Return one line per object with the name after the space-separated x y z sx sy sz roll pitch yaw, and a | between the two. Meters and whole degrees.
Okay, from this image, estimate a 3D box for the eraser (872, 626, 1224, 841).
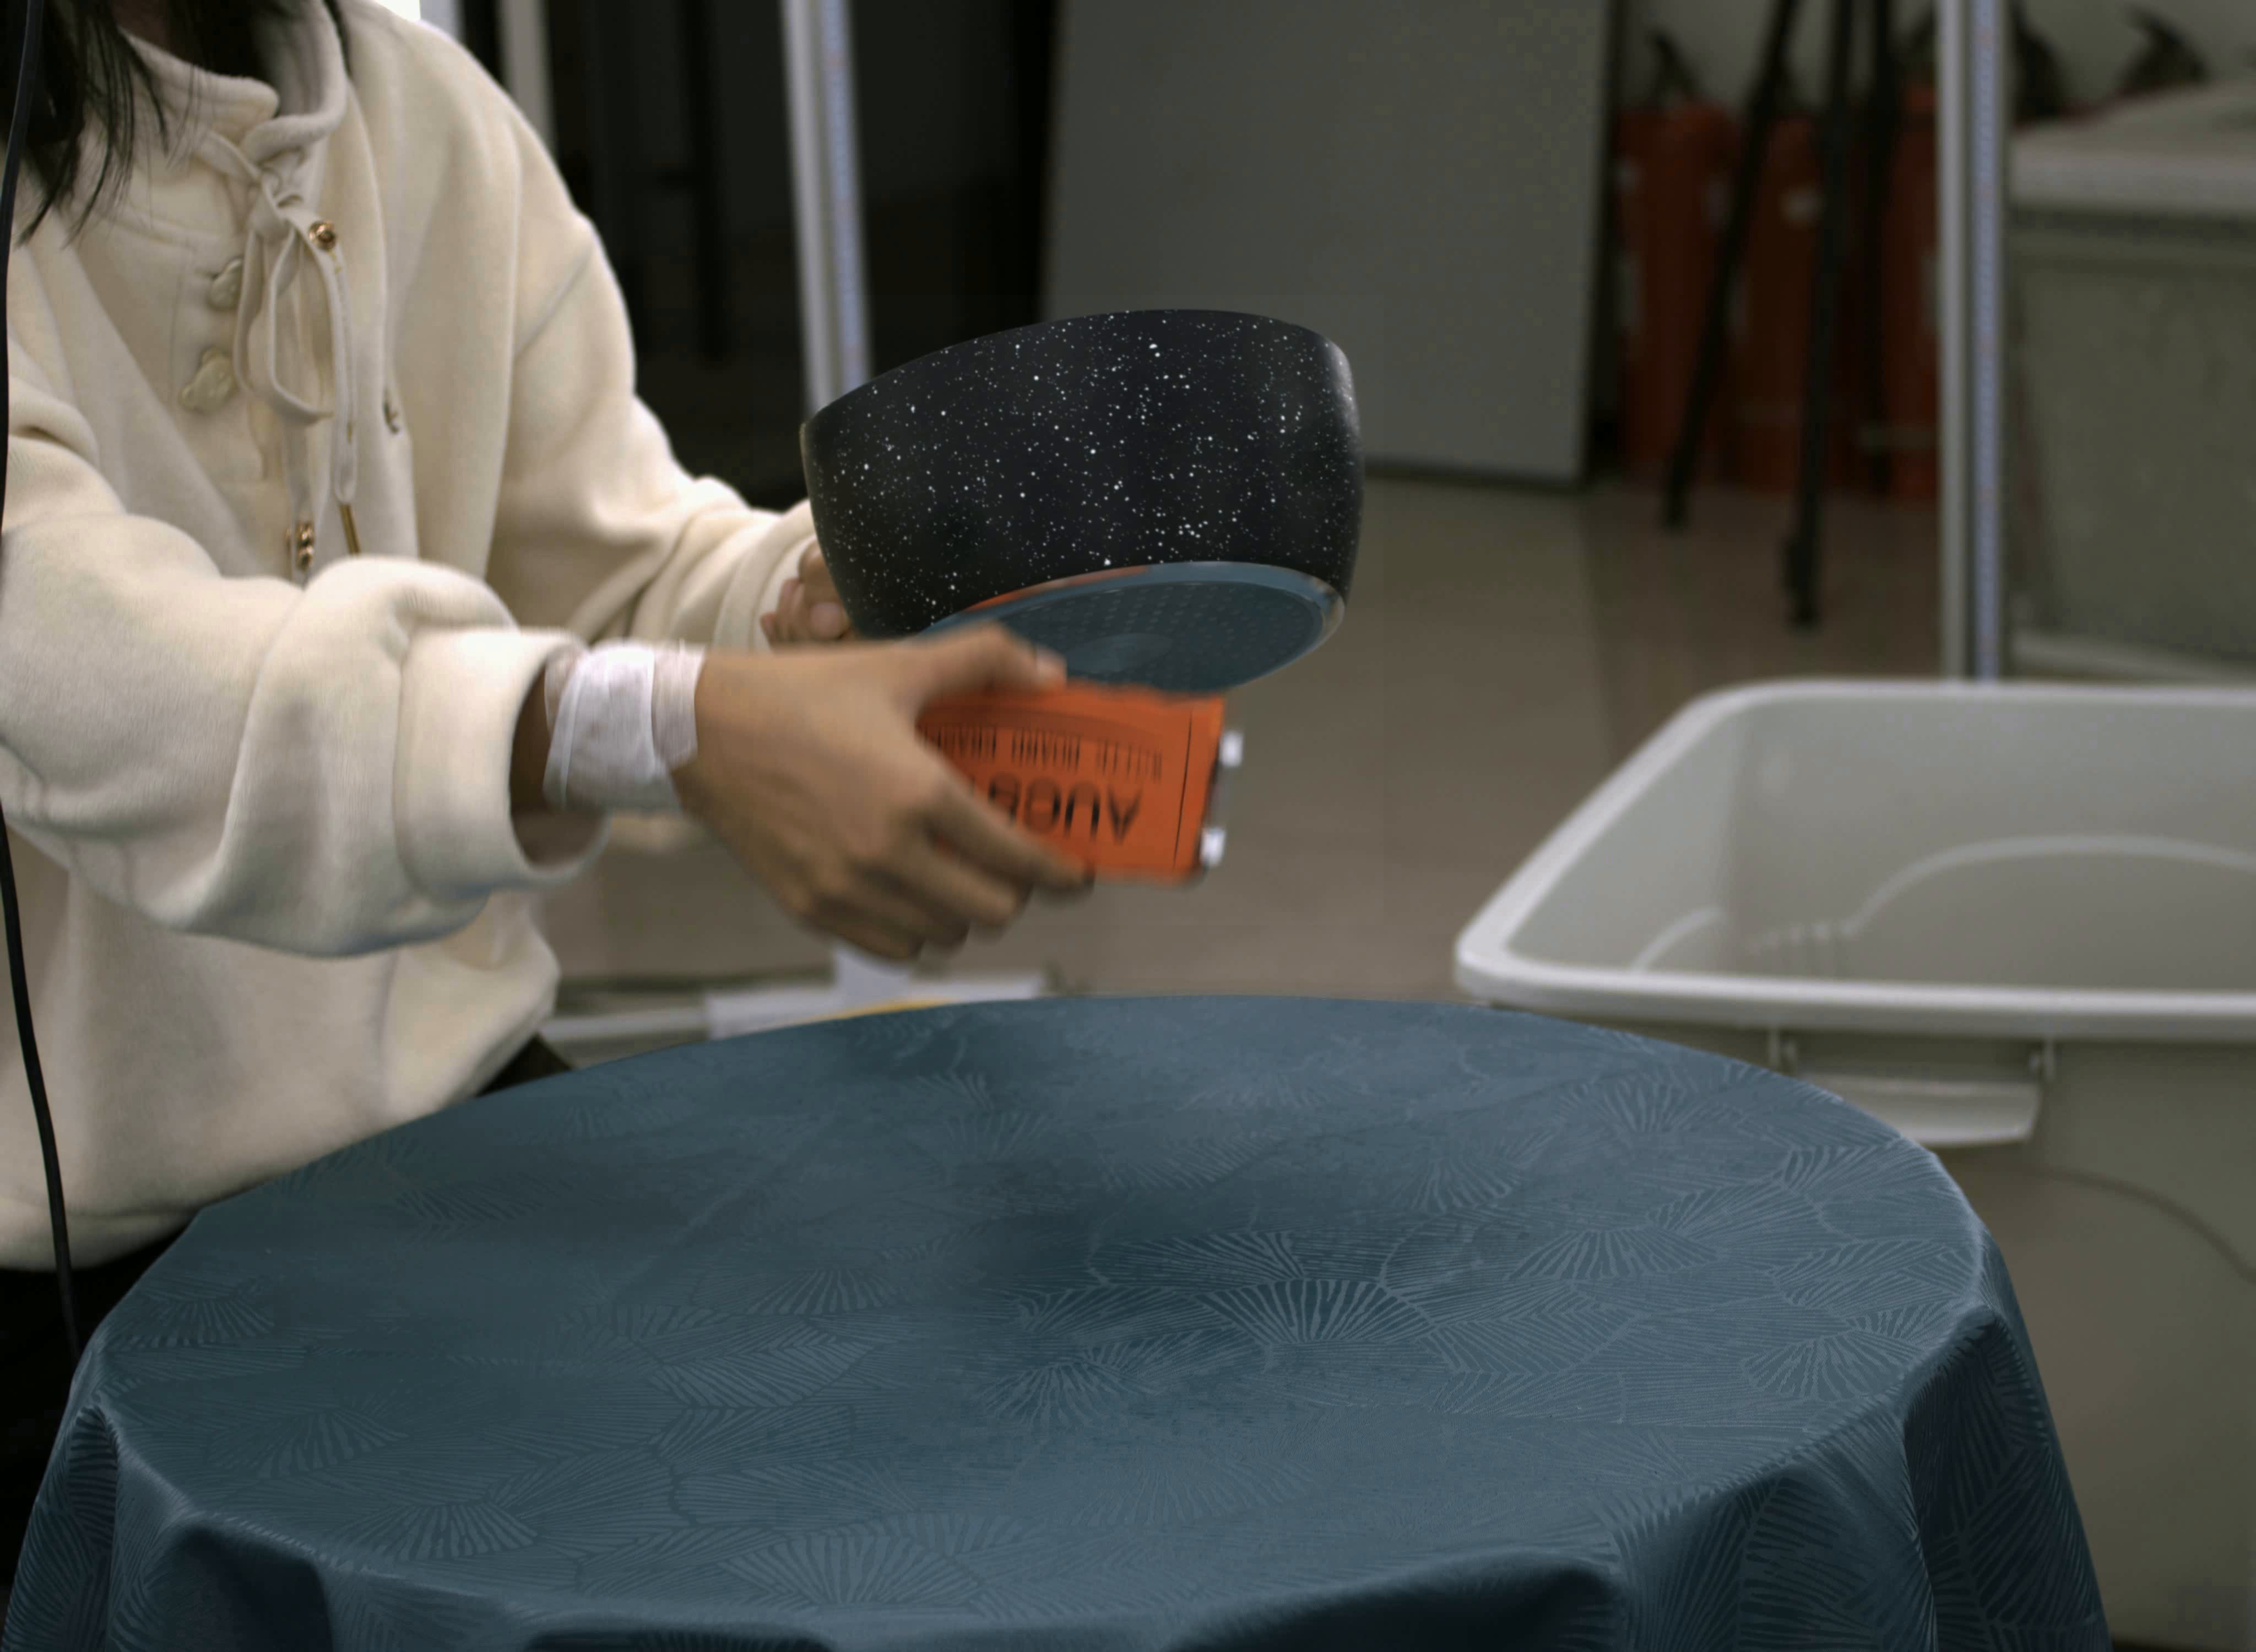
-0.025 -0.029 1.676 0.108 0.060 0.022 6 2 18 | eraser

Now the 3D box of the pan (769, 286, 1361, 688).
-0.046 -0.083 1.838 0.203 0.110 0.346 -1 -17 -26 | pan
